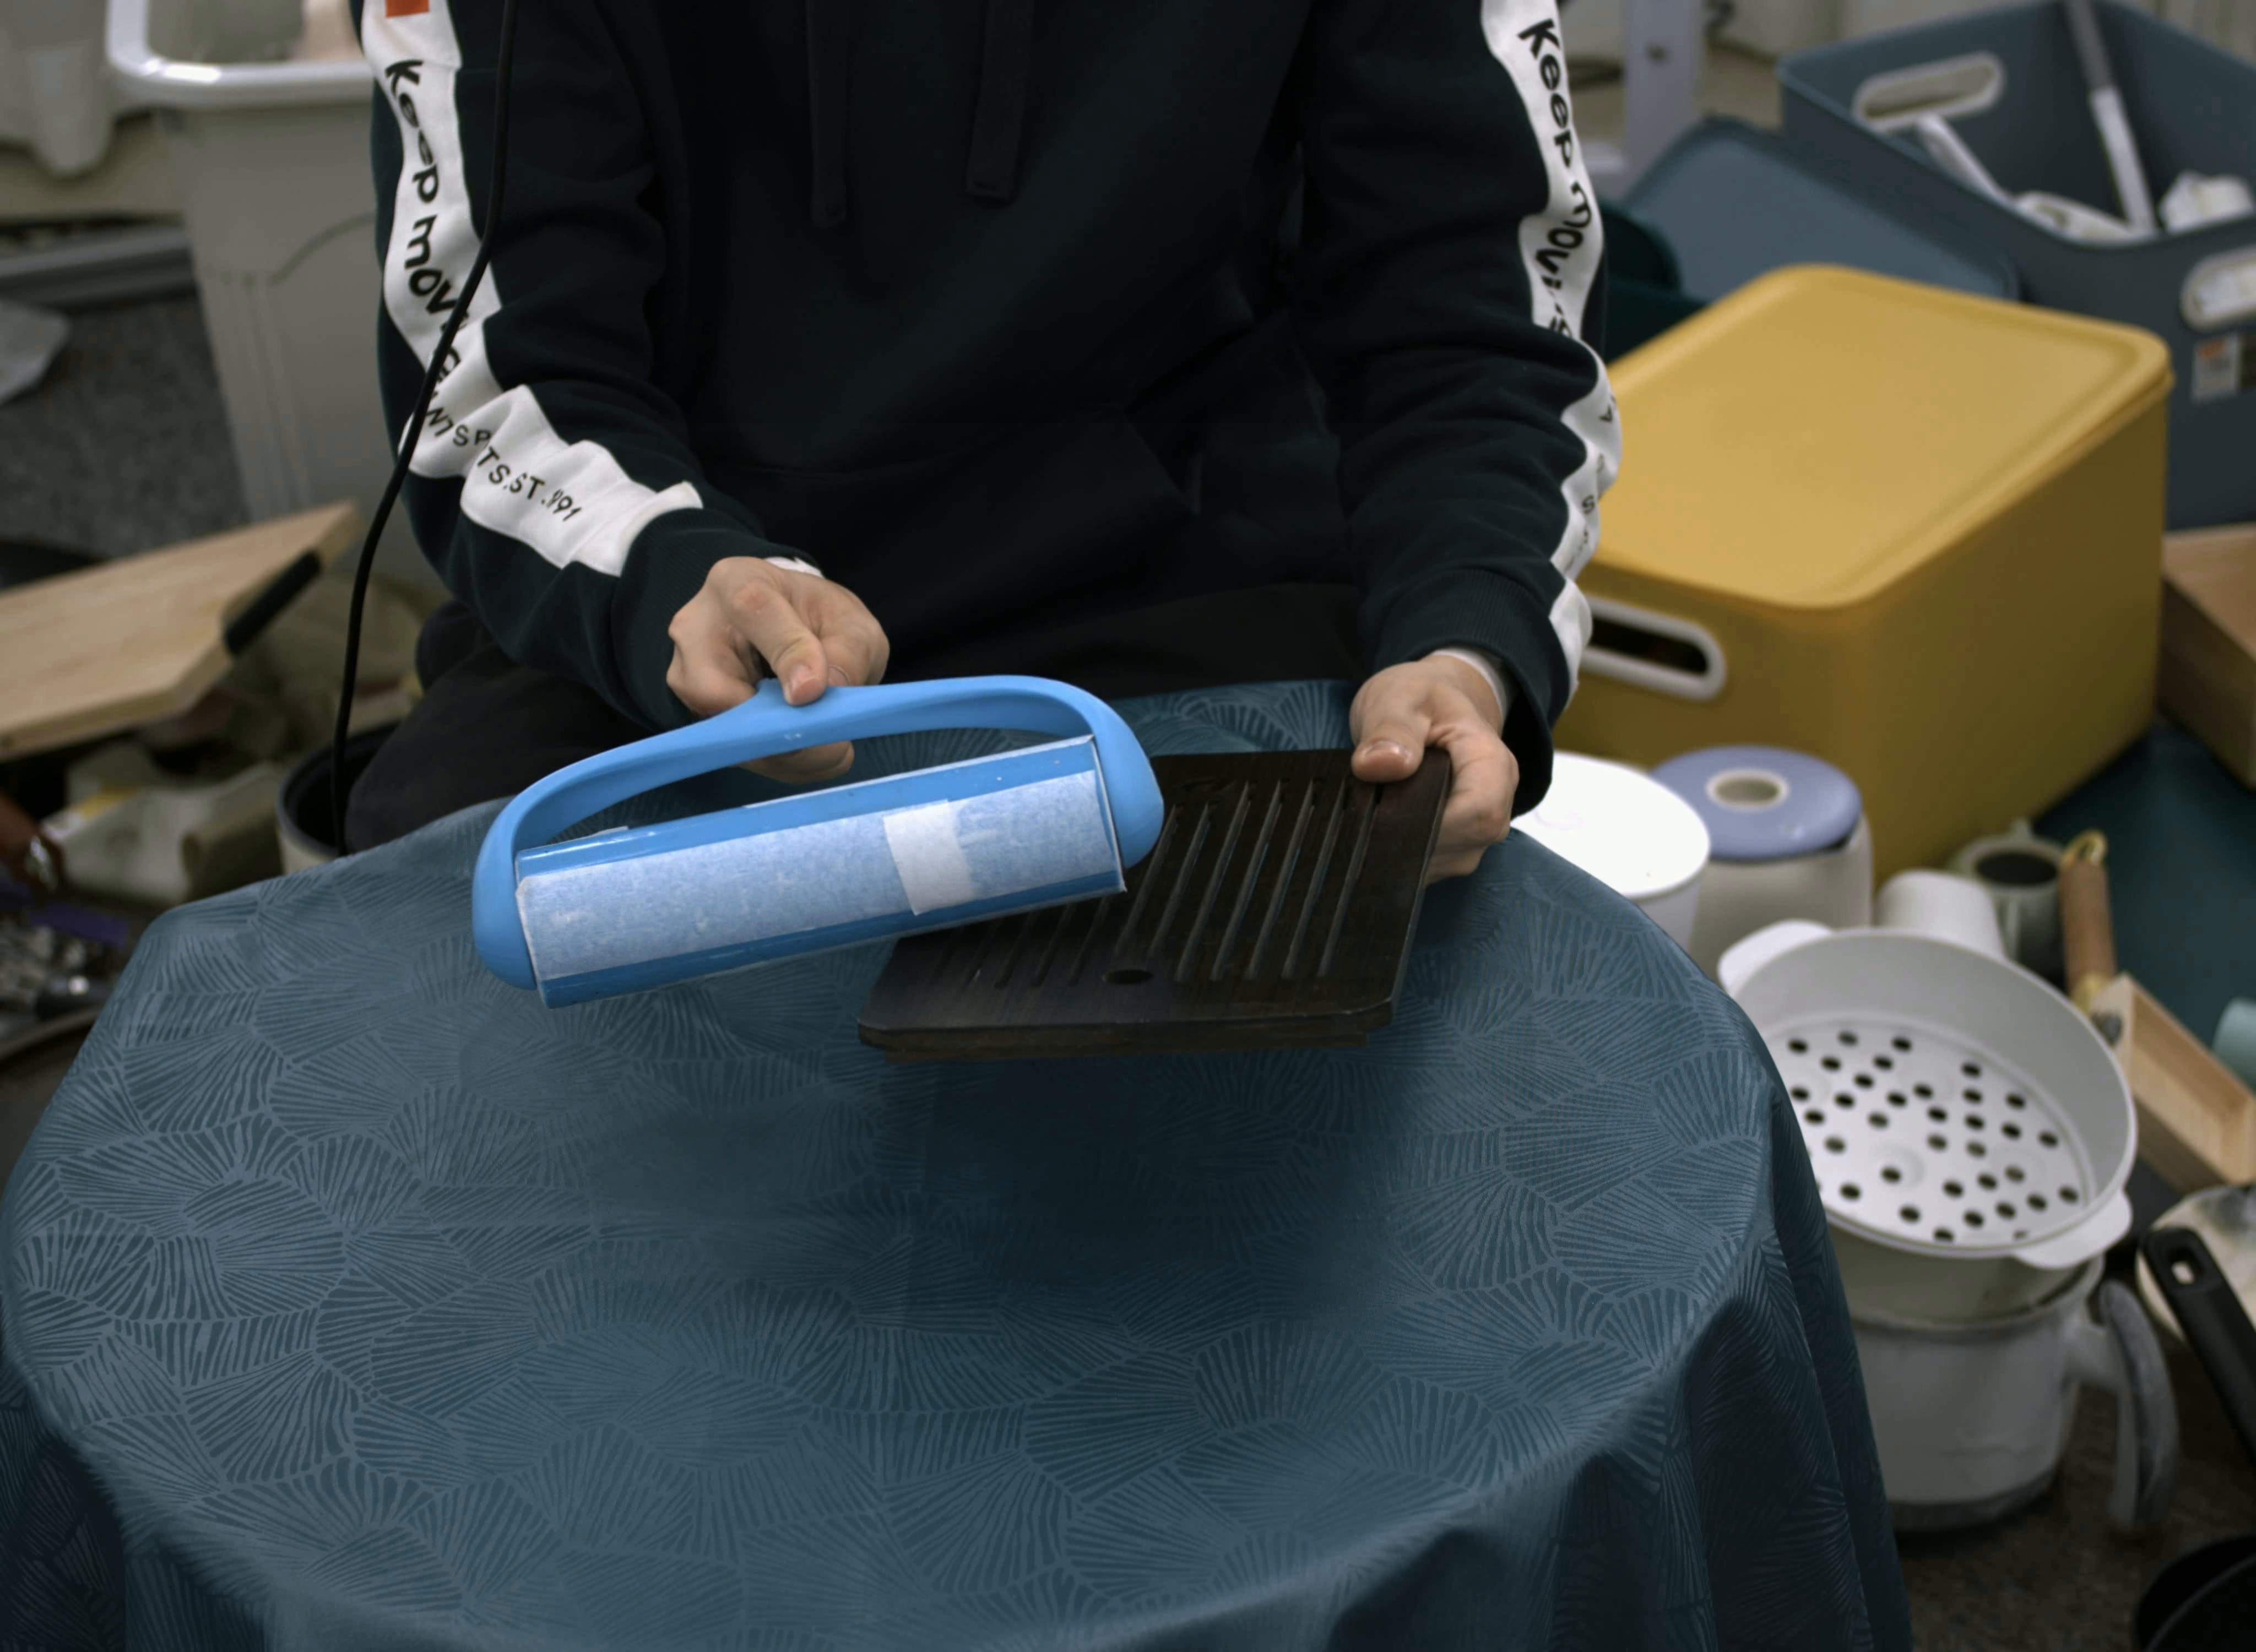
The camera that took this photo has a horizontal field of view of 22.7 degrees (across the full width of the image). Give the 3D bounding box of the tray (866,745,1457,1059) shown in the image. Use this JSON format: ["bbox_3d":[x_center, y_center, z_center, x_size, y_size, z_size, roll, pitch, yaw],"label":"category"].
[{"bbox_3d":[0.018,0.024,1.882,0.169,0.018,0.309,-2,16,7],"label":"tray"}]

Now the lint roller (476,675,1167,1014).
[{"bbox_3d":[-0.110,-0.015,1.880,0.228,0.067,0.182,-15,30,-5],"label":"lint roller"}]
